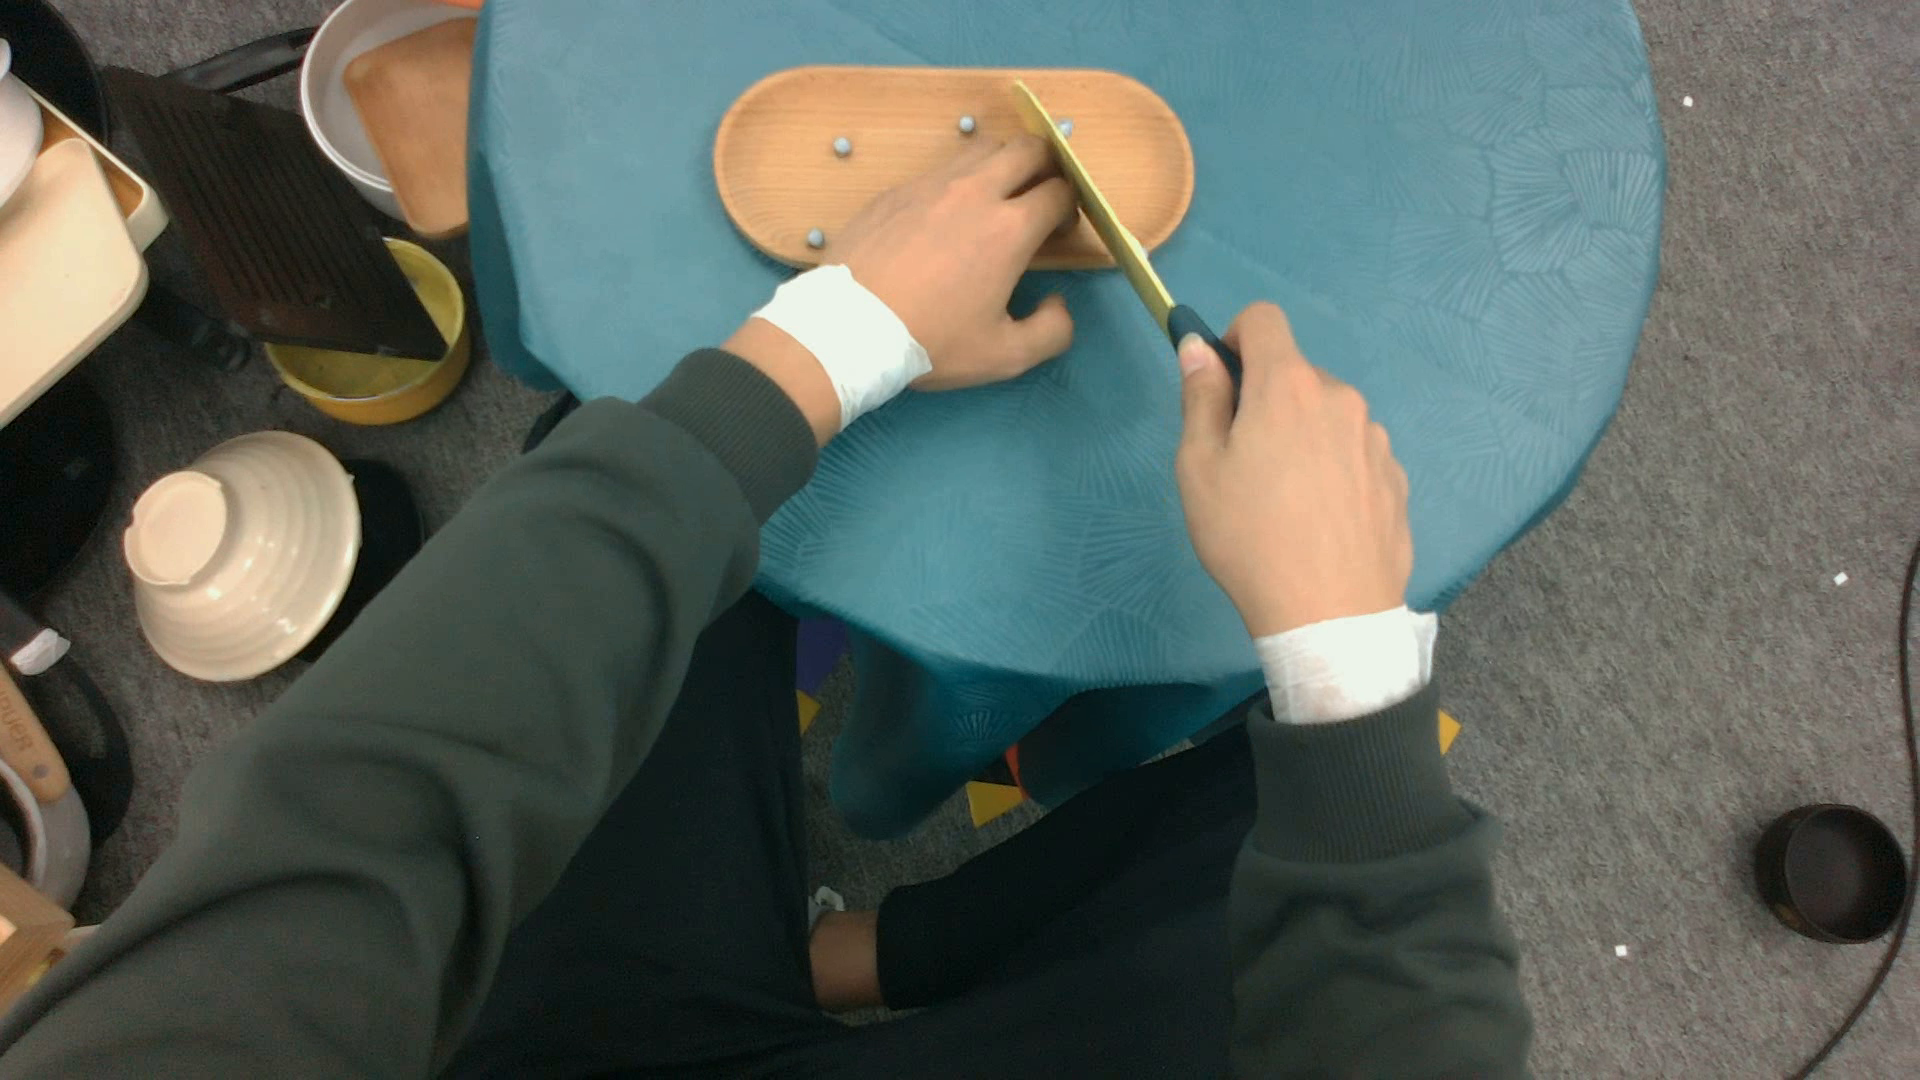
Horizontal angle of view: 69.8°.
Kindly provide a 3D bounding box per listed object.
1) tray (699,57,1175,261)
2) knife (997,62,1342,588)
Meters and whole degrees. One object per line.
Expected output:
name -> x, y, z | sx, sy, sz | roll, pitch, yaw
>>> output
tray -> -0.009, -0.184, 0.667 | 0.231, 0.020, 0.102 | -2, 80, -11
knife -> 0.083, -0.102, 0.603 | 0.027, 0.081, 0.290 | -31, 71, 8
